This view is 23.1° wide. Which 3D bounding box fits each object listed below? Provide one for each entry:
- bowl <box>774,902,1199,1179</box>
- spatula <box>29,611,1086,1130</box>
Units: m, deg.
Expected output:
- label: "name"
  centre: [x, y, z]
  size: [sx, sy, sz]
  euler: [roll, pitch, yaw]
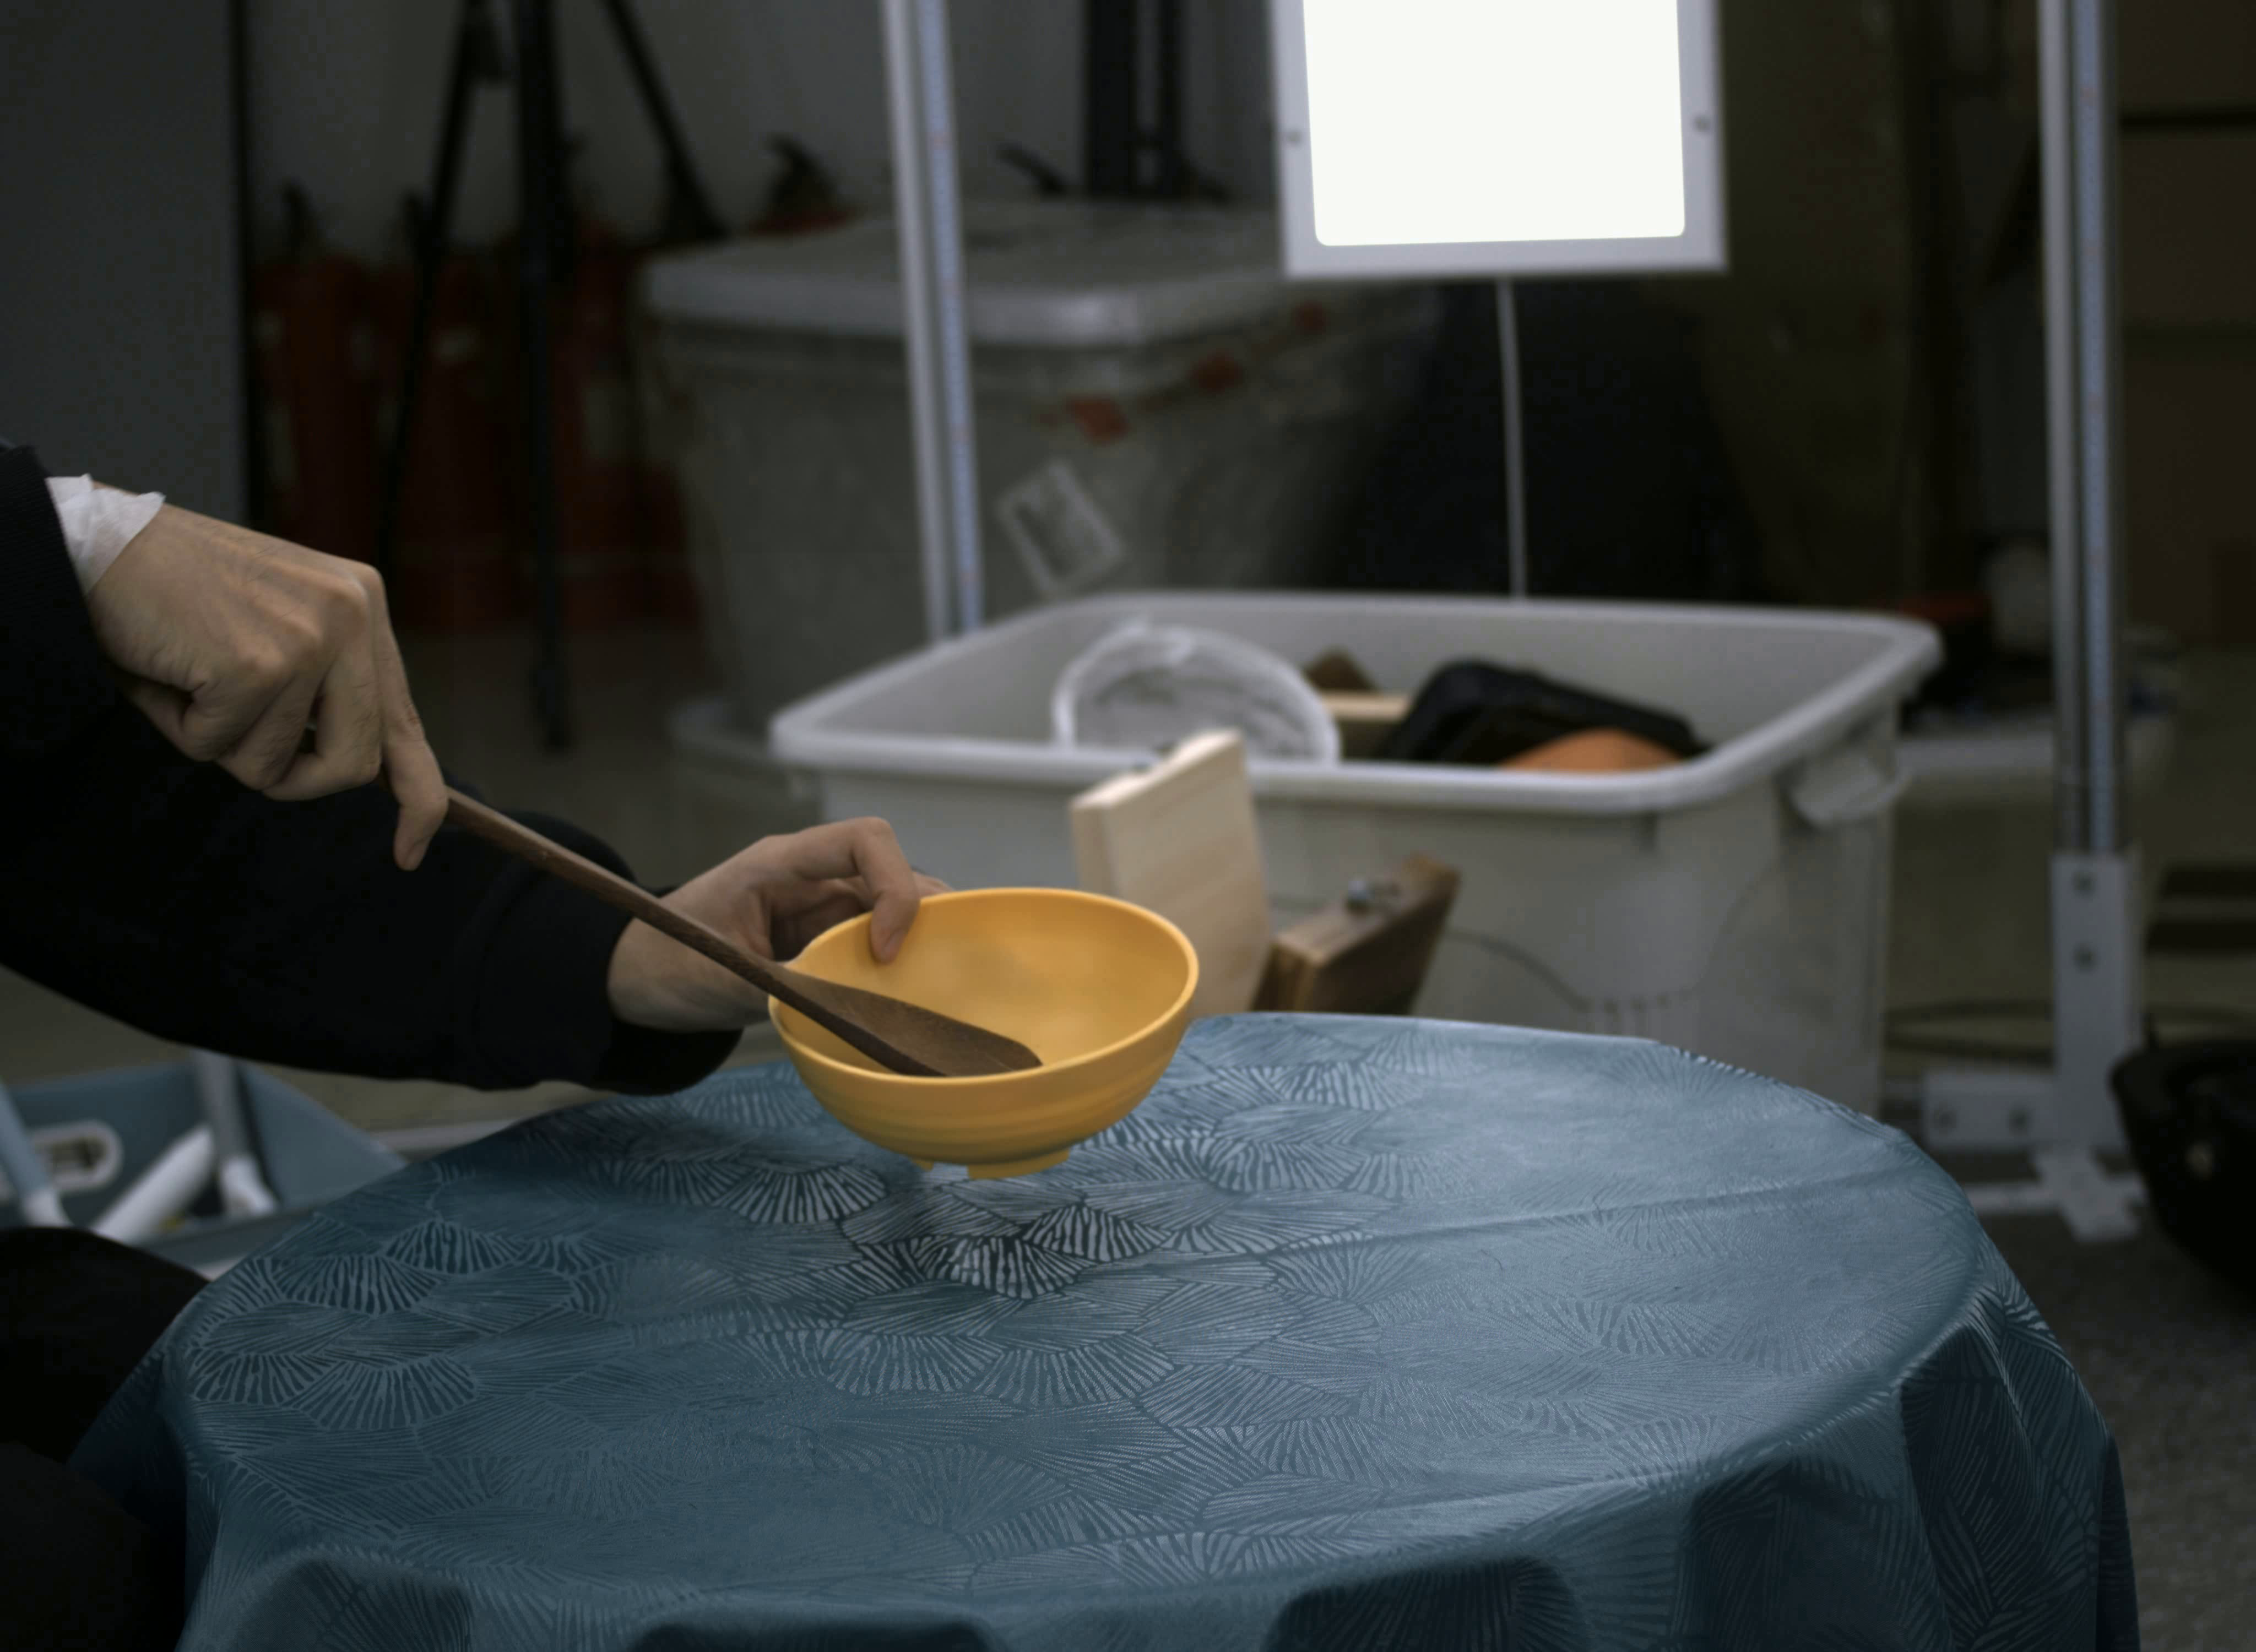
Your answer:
- label: "bowl"
  centre: [-0.045, 0.079, 1.849]
  size: [0.145, 0.060, 0.145]
  euler: [-6, 21, 1]
- label: "spatula"
  centre: [-0.181, 0.014, 1.794]
  size: [0.381, 0.016, 0.097]
  euler: [27, 7, -18]
